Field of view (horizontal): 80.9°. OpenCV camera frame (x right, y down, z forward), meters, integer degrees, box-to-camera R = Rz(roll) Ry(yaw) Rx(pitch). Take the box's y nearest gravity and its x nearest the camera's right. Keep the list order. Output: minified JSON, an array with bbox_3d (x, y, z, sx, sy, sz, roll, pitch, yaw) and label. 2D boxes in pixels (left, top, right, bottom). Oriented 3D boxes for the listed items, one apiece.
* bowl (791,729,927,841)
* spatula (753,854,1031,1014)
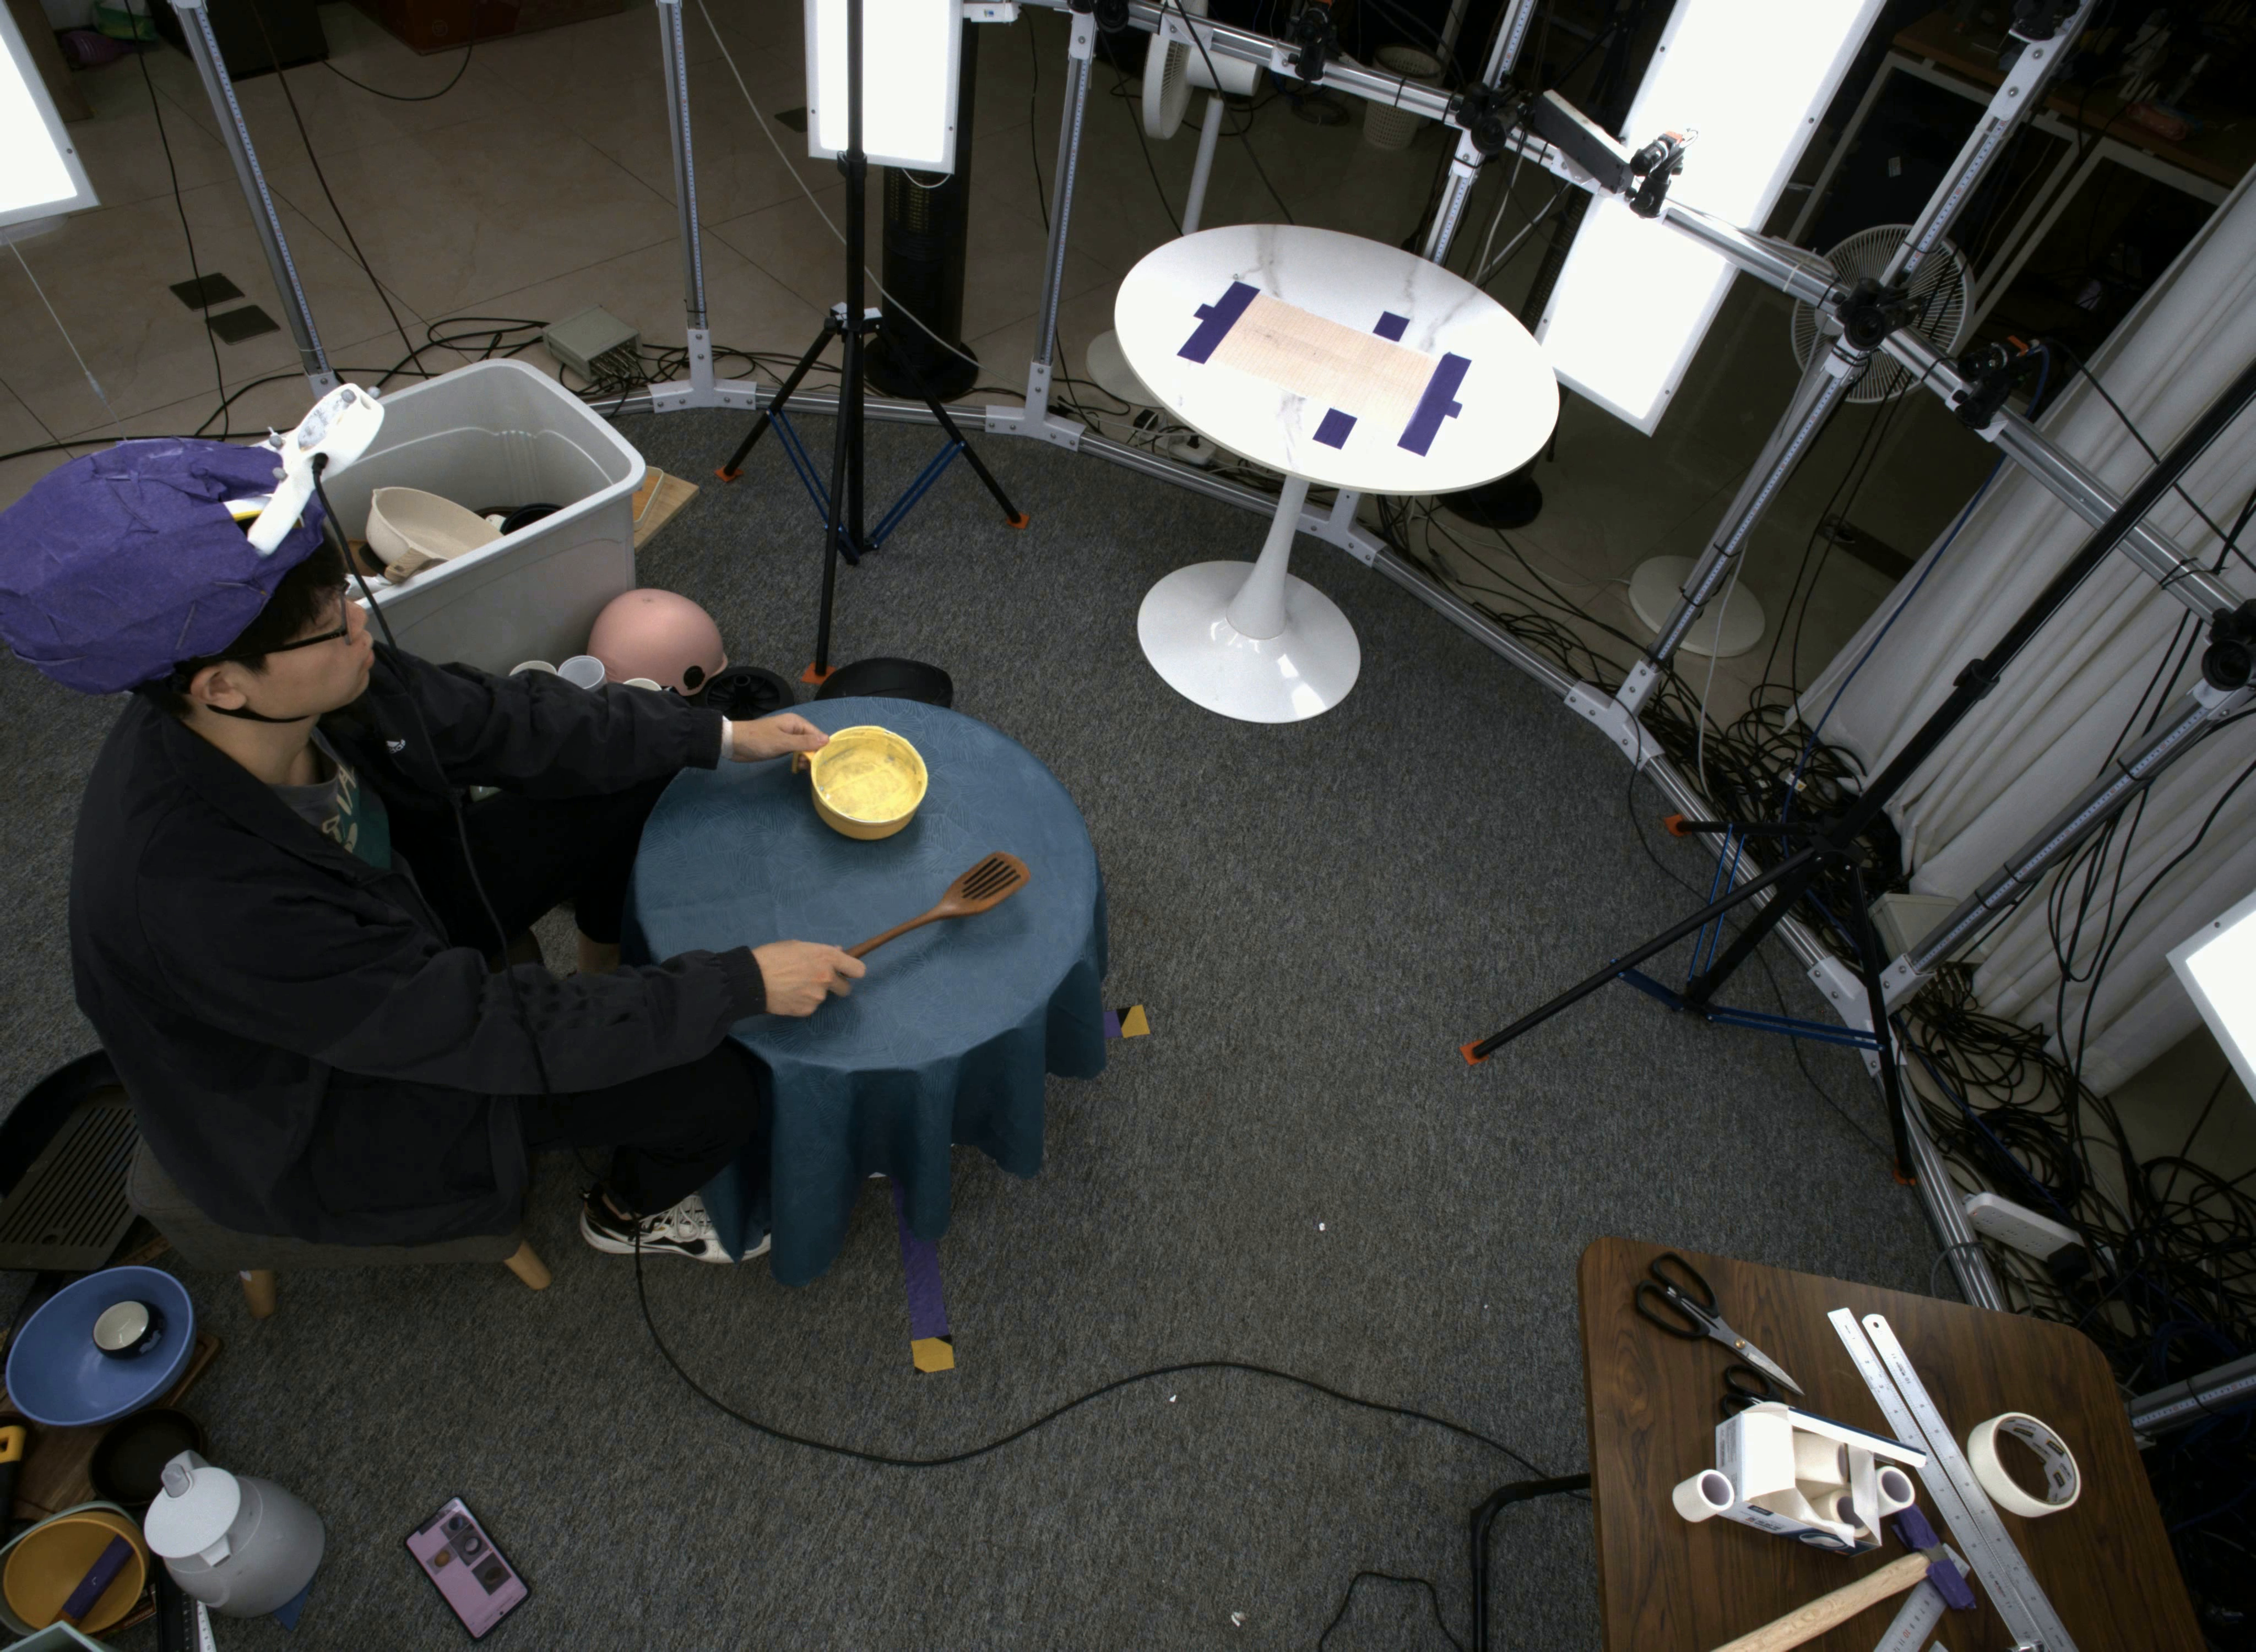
[{"bbox_3d":[-0.362,-0.058,1.735,0.179,0.075,0.151,21,53,-6],"label":"bowl"},{"bbox_3d":[-0.289,0.135,1.611,0.388,0.025,0.082,-28,47,-30],"label":"spatula"}]
